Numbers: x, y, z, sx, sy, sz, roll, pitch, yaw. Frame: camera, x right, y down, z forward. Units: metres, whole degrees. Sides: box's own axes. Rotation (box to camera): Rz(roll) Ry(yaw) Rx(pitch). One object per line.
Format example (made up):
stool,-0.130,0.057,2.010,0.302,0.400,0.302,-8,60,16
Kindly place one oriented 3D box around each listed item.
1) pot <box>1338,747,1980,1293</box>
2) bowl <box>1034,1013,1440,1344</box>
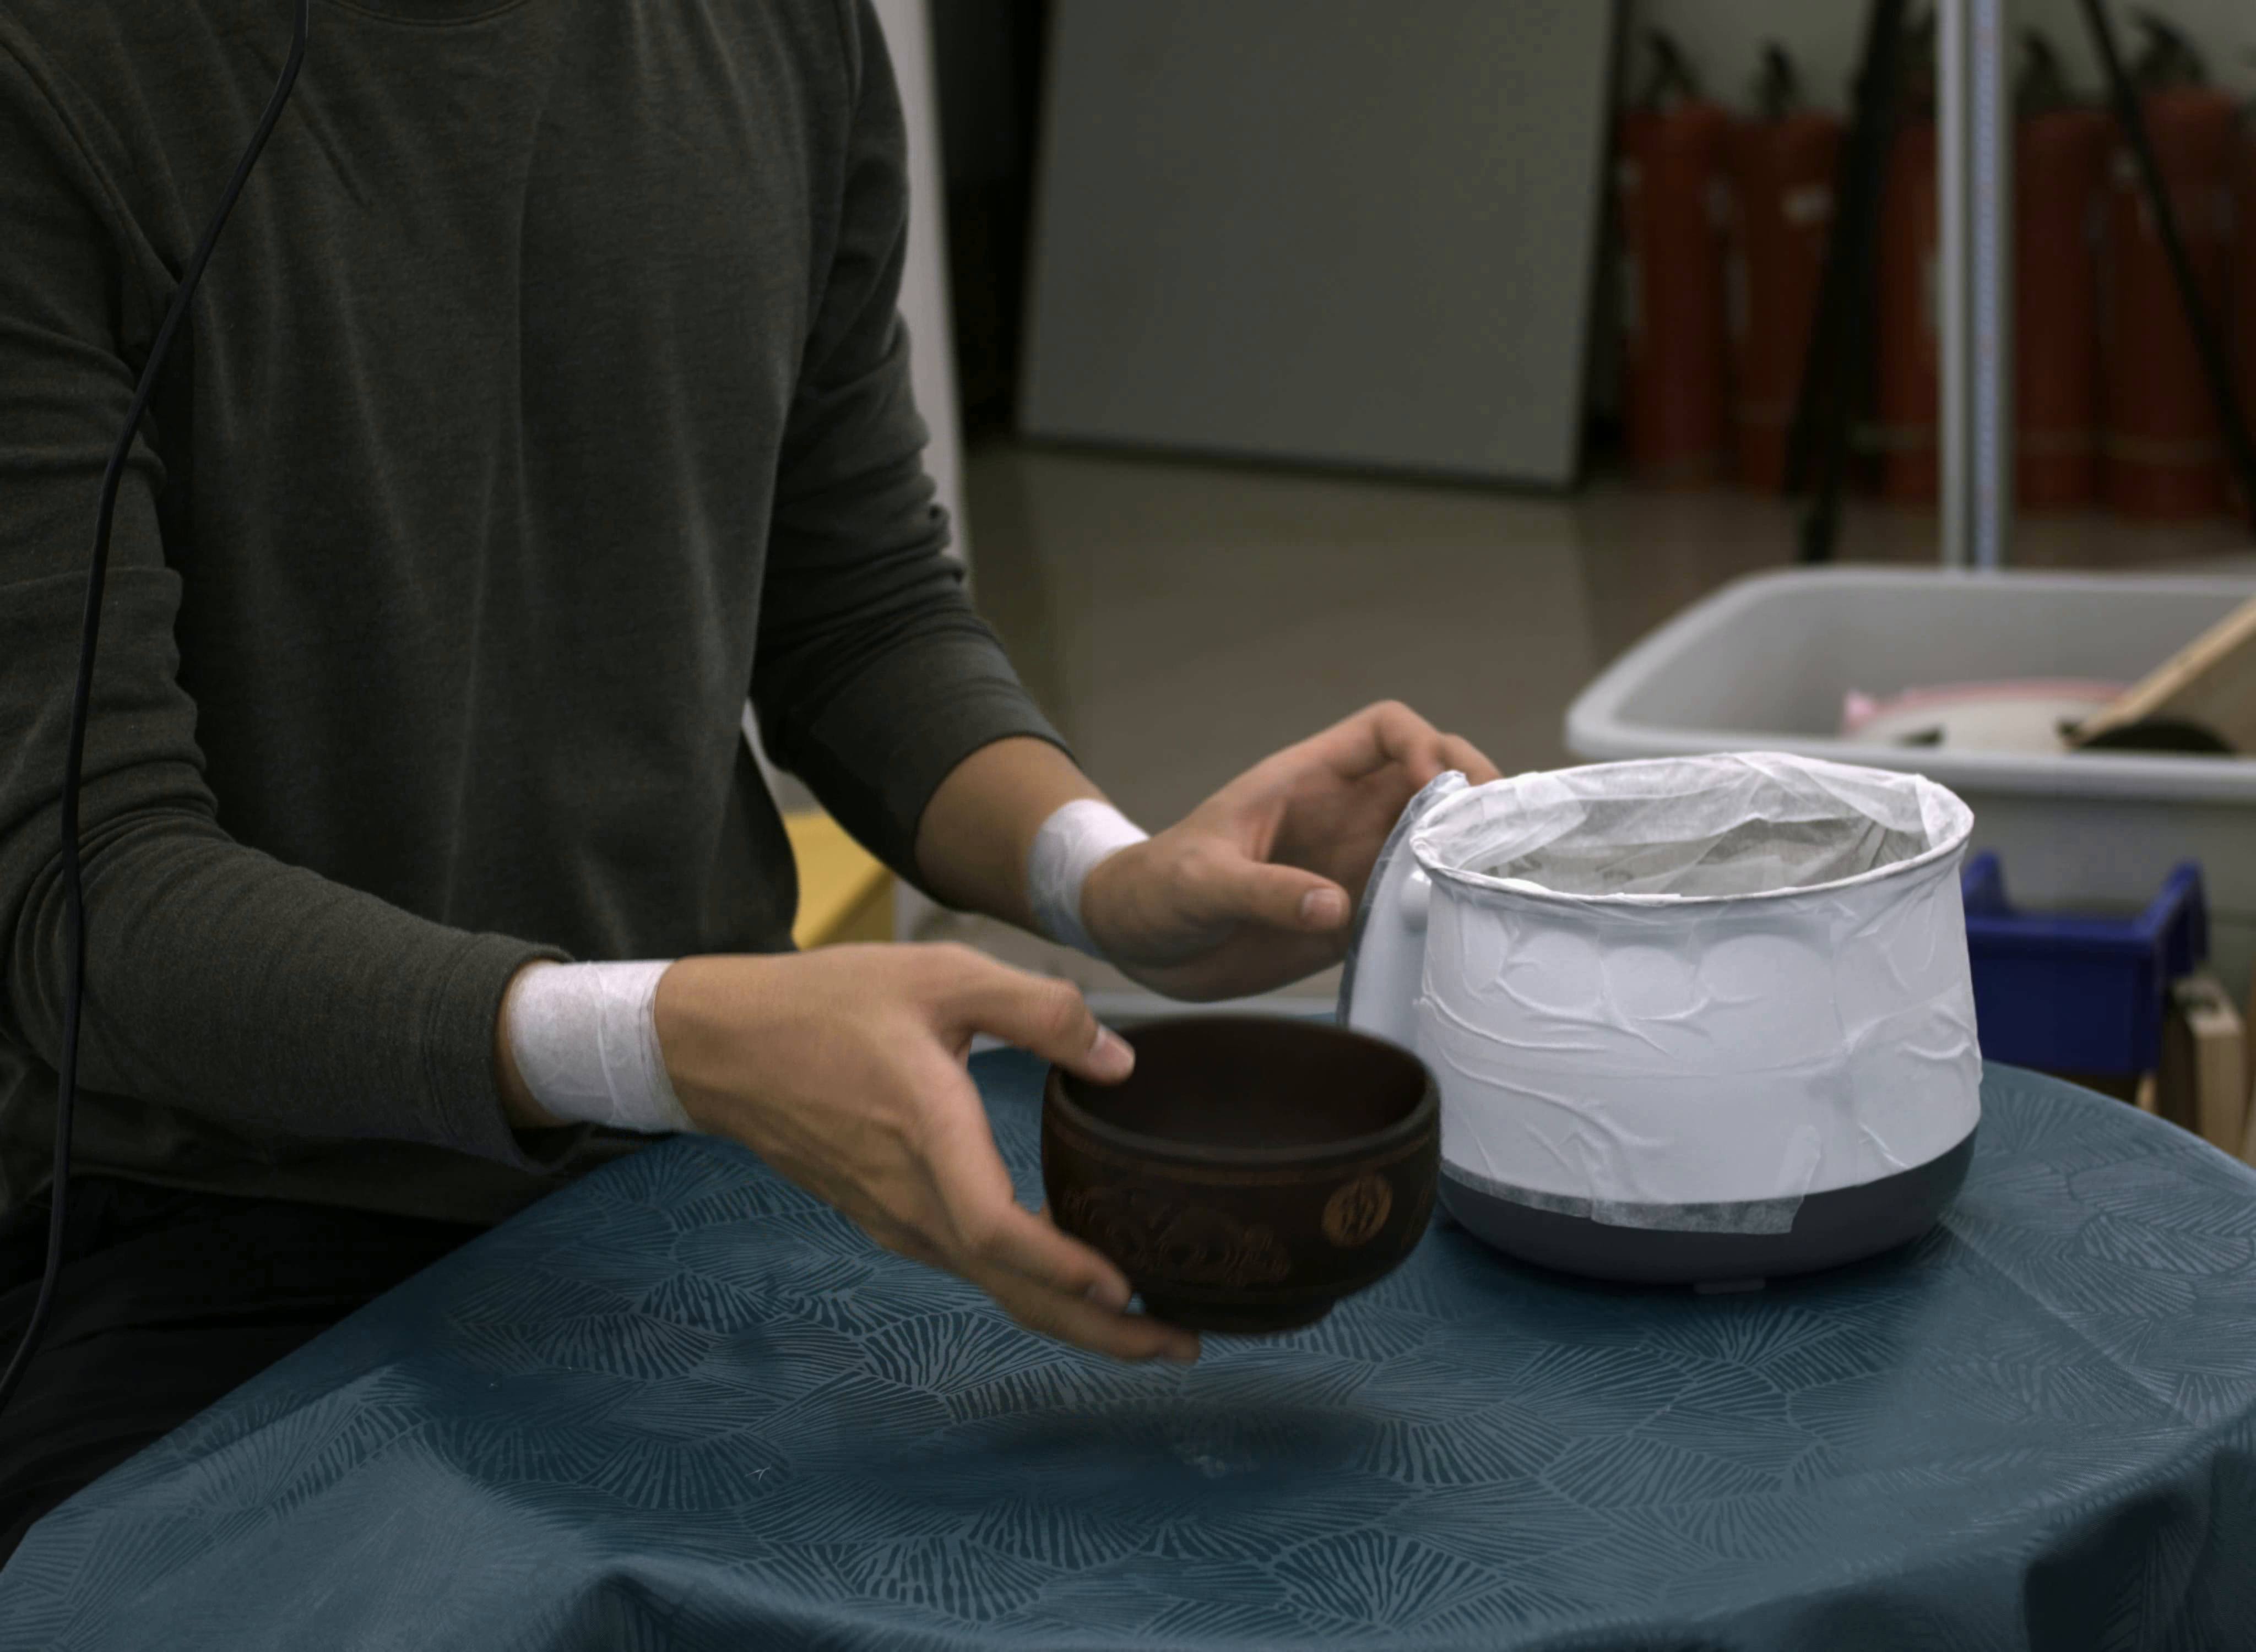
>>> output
pot,0.158,0.056,1.704,0.236,0.138,0.175,9,18,43
bowl,0.031,0.105,1.537,0.116,0.070,0.118,-2,17,0
